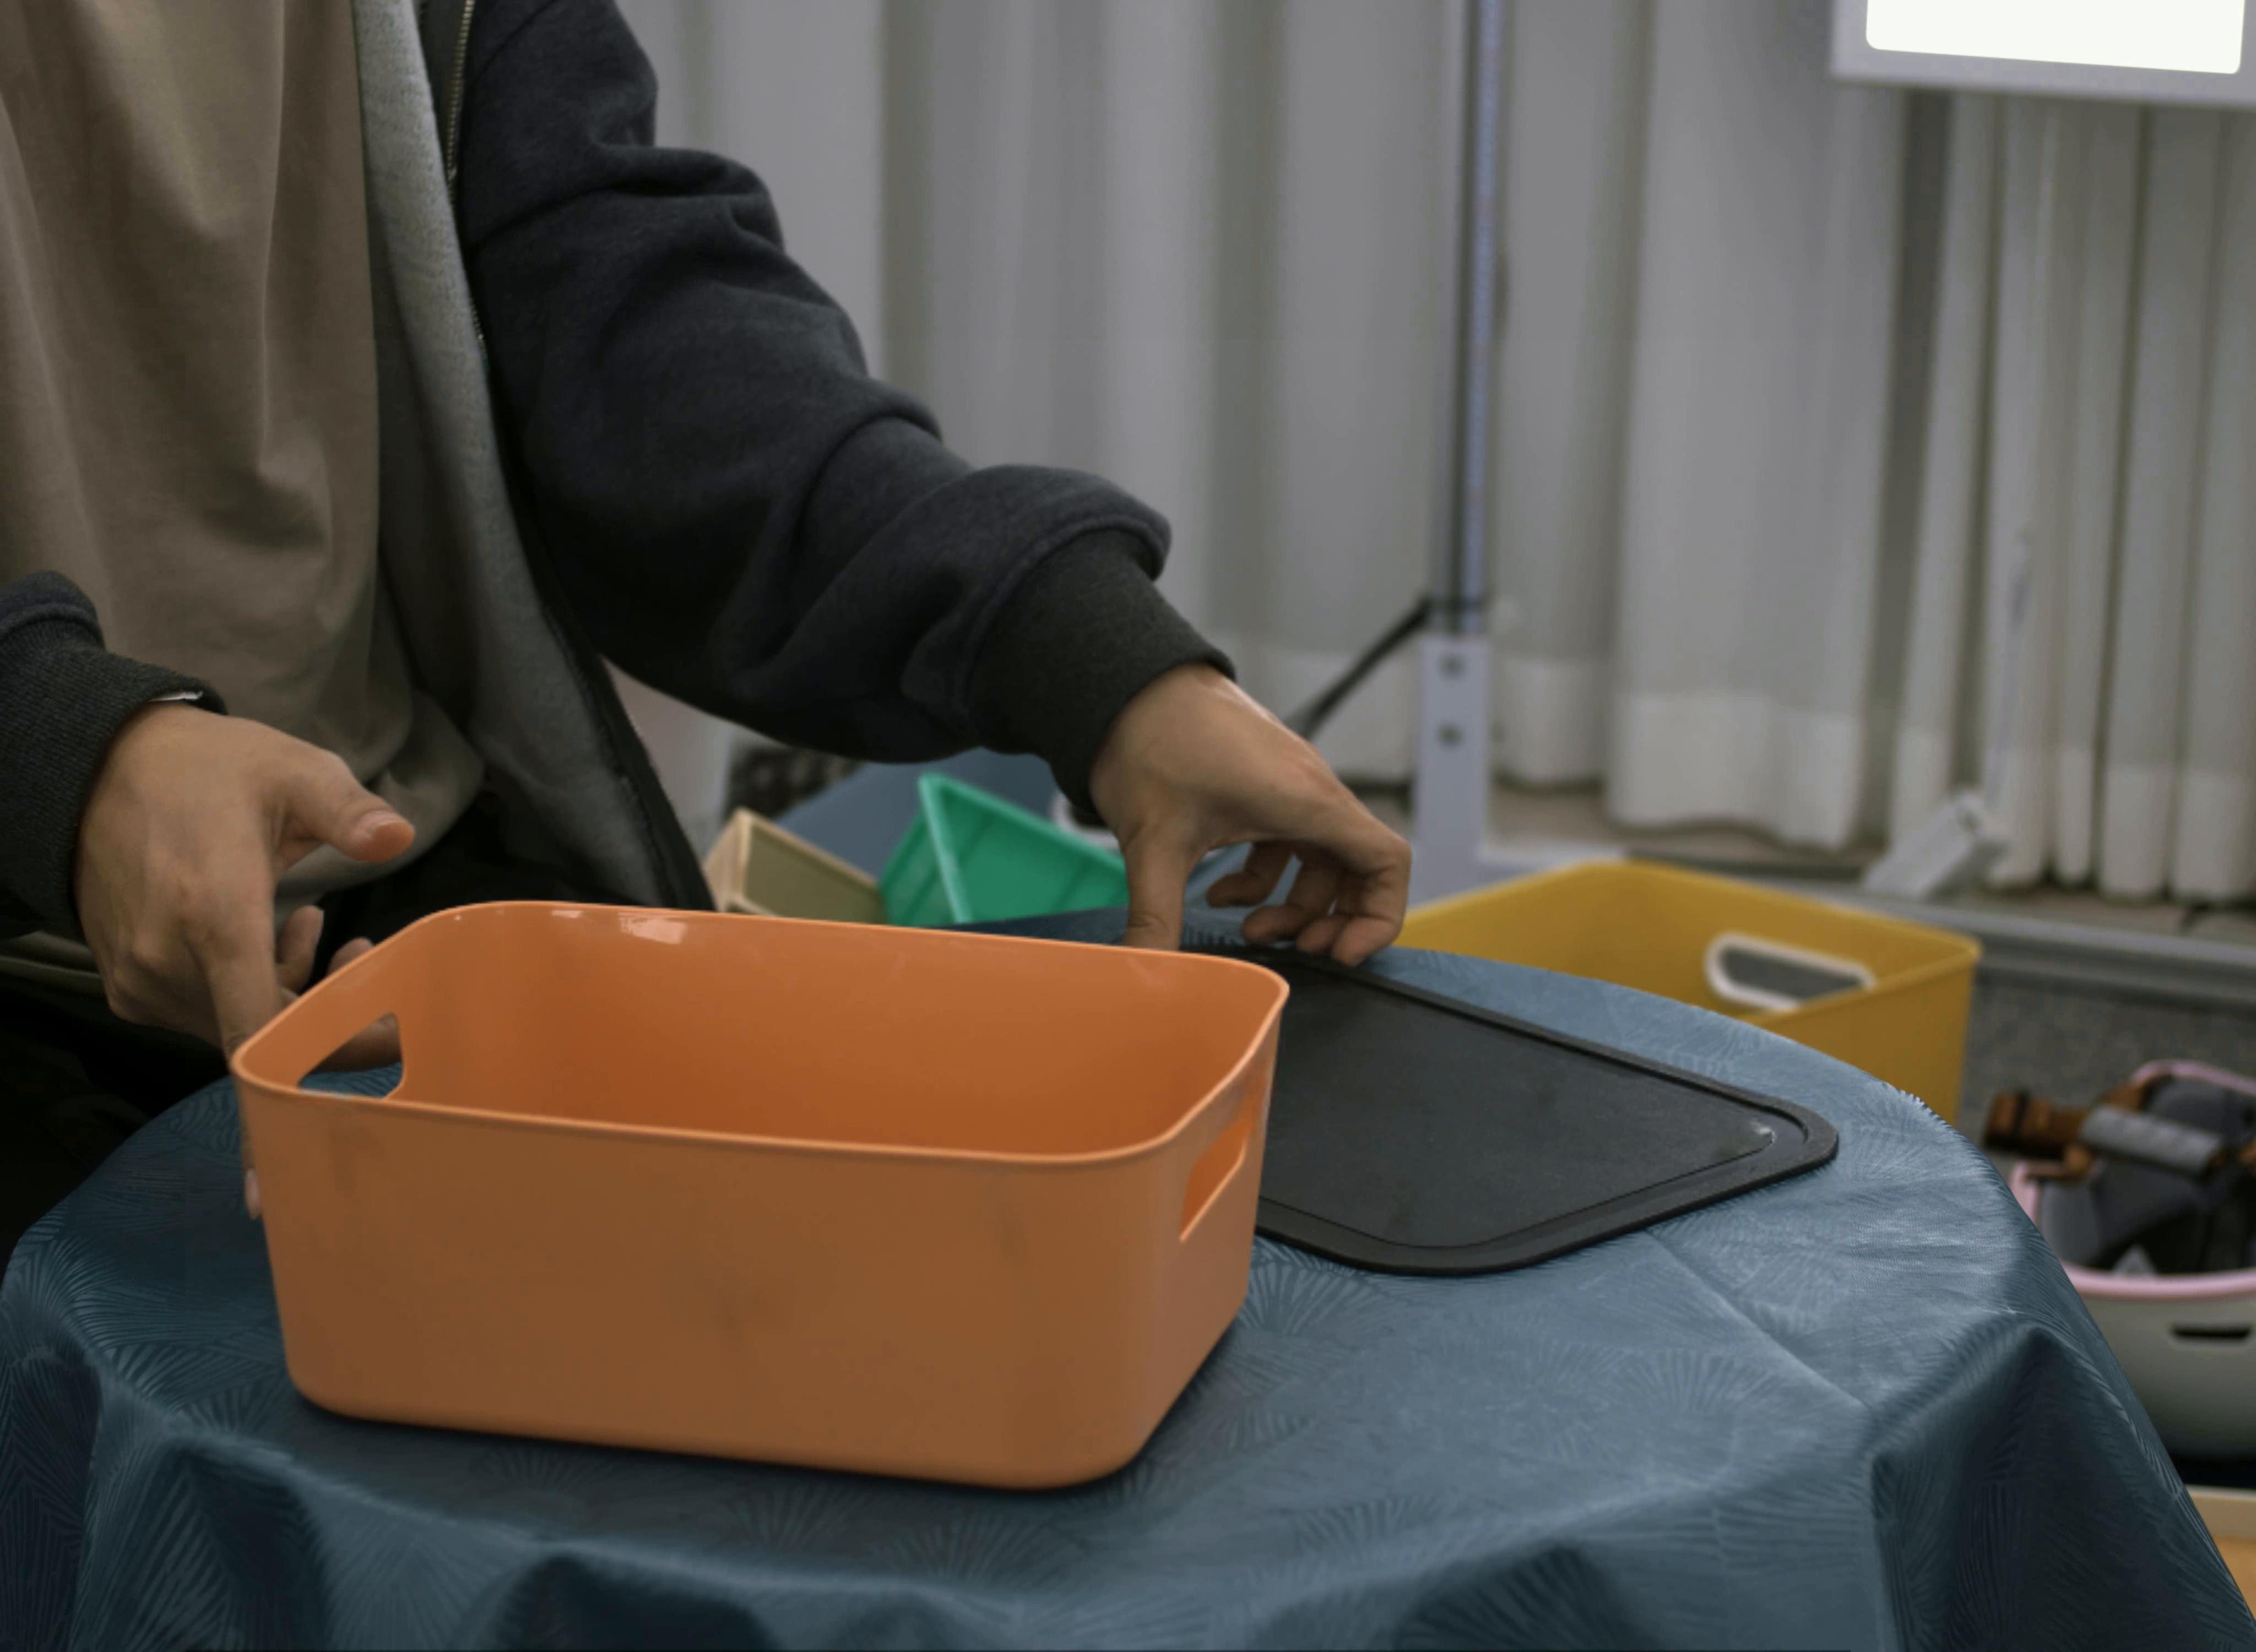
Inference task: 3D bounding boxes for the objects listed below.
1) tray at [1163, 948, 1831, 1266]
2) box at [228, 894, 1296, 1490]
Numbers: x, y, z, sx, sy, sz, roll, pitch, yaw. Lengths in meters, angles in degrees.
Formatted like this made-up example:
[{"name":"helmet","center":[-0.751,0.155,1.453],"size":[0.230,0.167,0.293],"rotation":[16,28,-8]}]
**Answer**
[{"name":"tray","center":[0.055,0.085,1.713],"size":[0.212,0.010,0.321],"rotation":[-13,21,-42]},{"name":"box","center":[-0.098,0.099,1.470],"size":[0.271,0.103,0.199],"rotation":[5,16,13]}]
